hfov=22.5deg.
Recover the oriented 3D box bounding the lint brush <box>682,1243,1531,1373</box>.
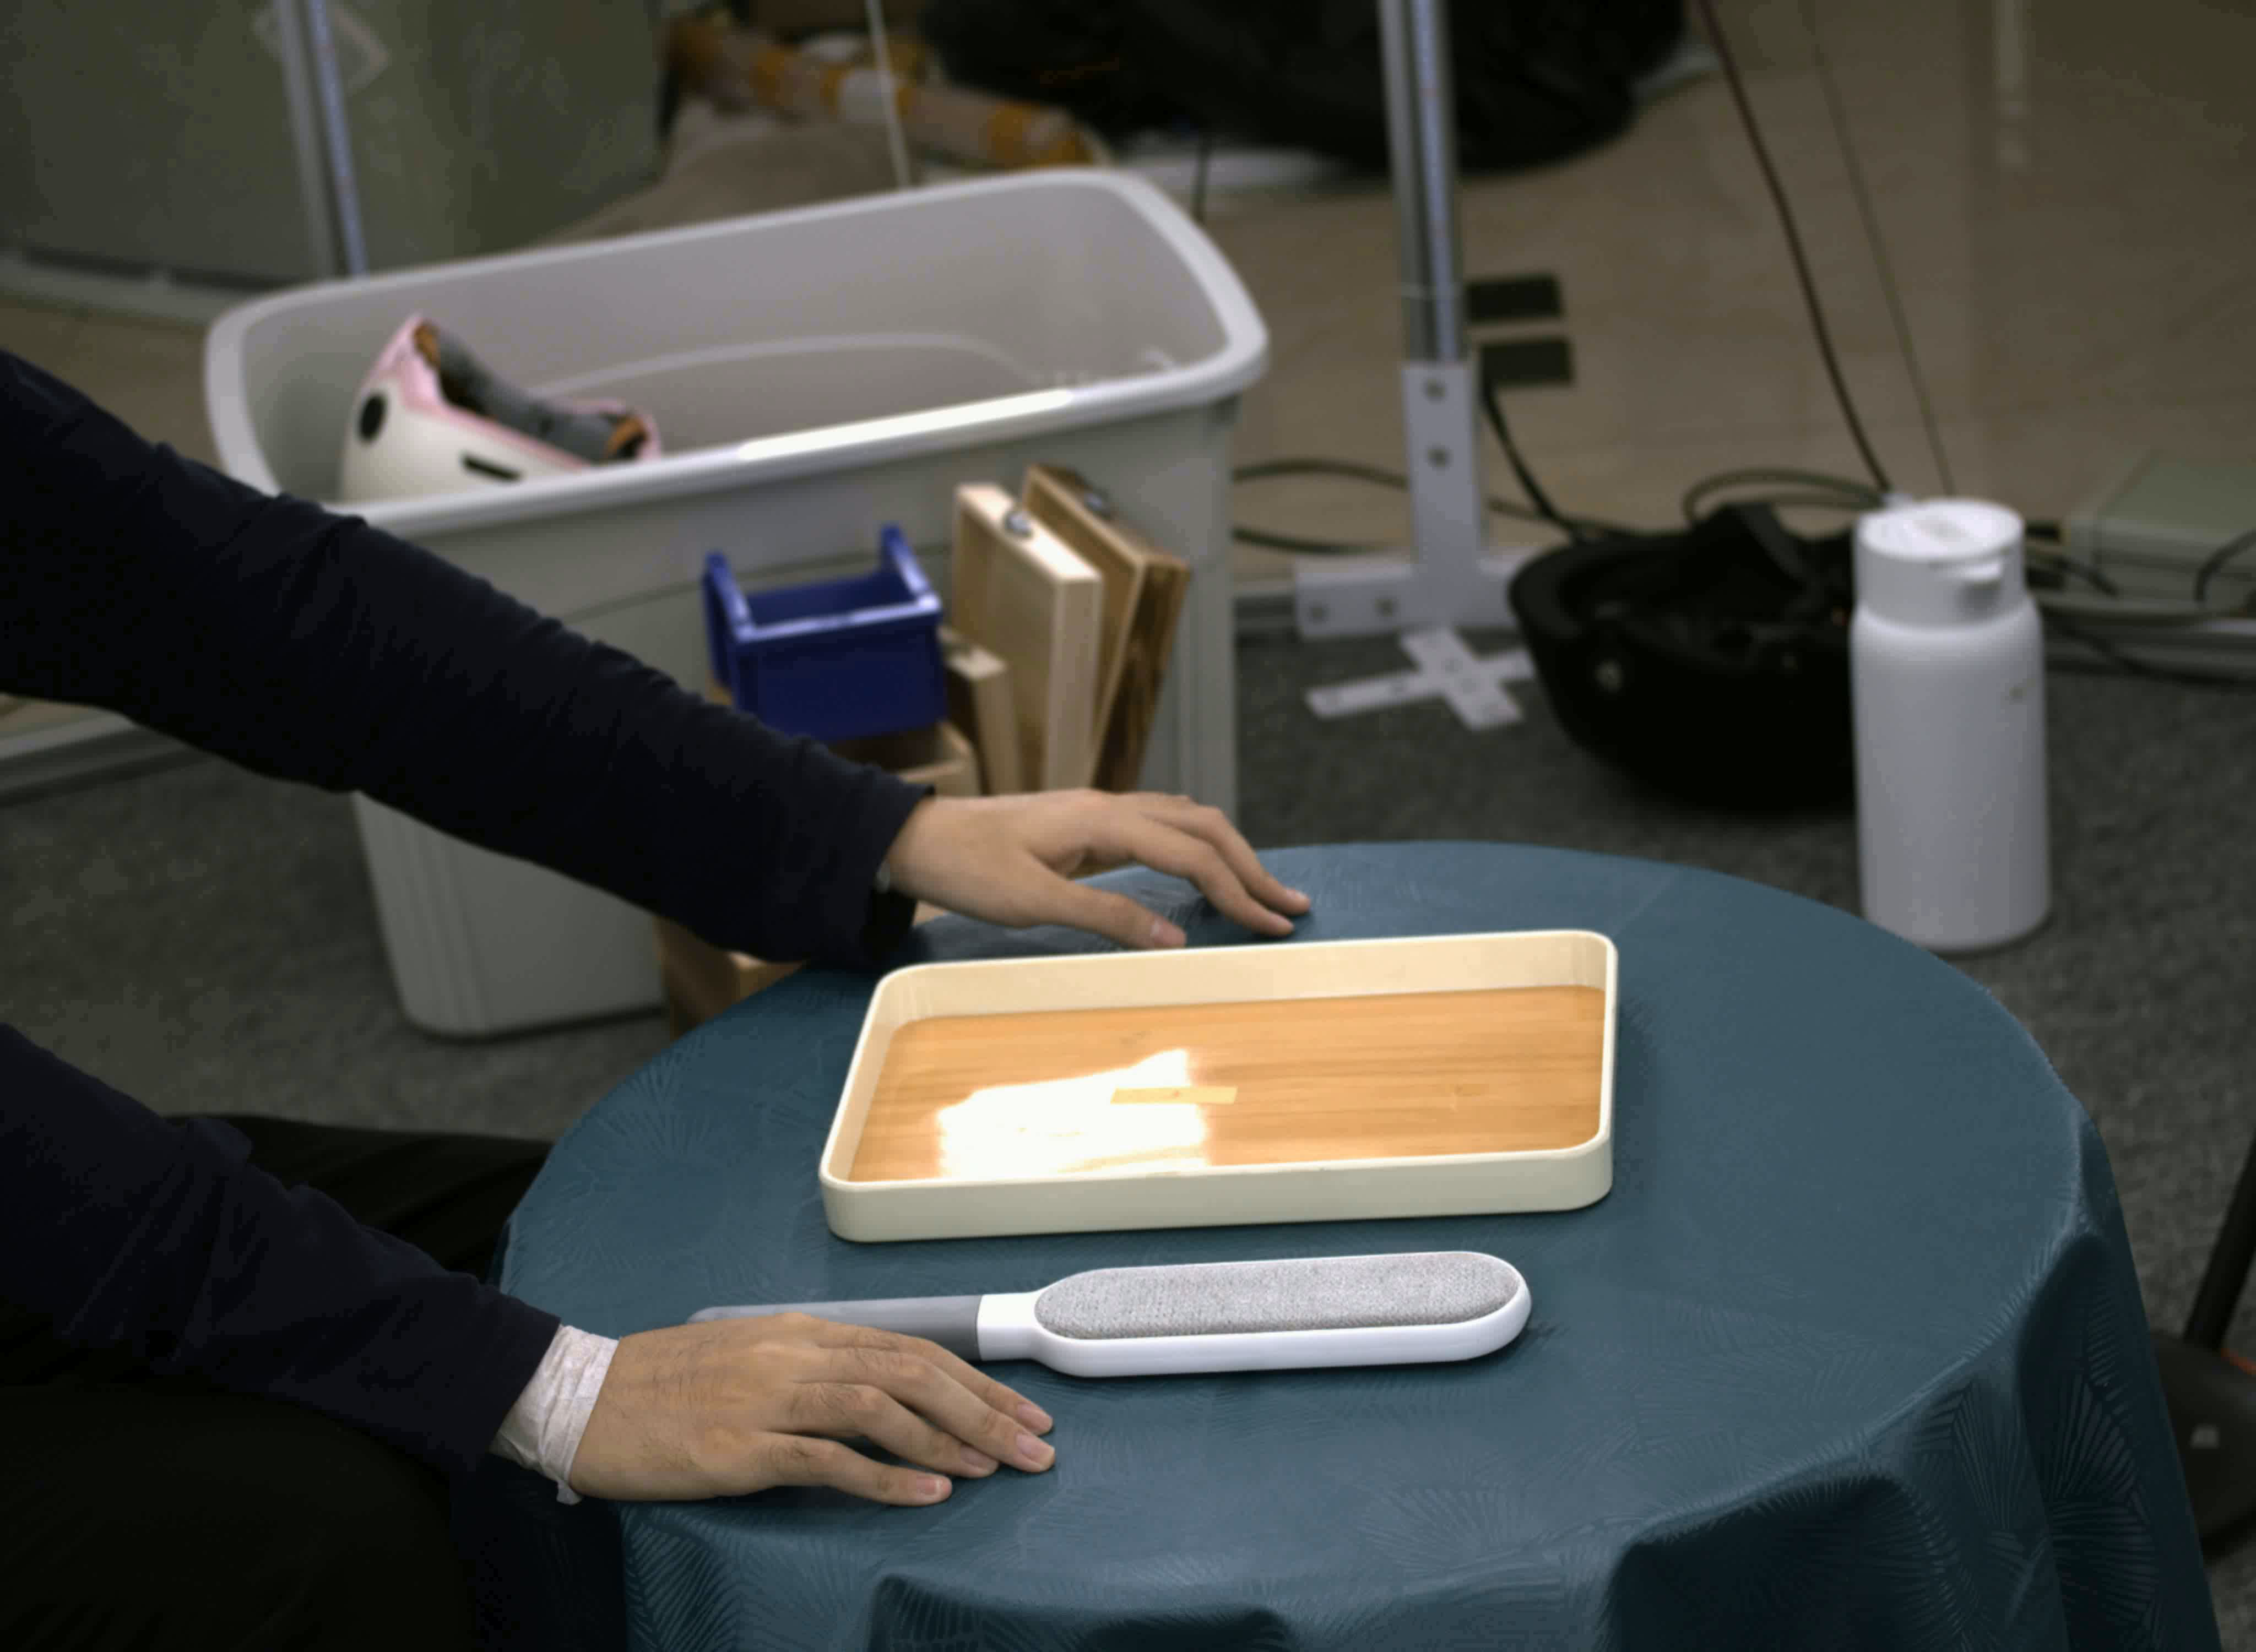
[{"bbox_3d":[-0.009,0.175,2.044,0.308,0.021,0.059,-3,31,8],"label":"lint brush"}]

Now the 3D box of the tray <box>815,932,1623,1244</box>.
[{"bbox_3d":[0.039,0.101,2.193,0.300,0.028,0.189,-3,25,9],"label":"tray"}]
